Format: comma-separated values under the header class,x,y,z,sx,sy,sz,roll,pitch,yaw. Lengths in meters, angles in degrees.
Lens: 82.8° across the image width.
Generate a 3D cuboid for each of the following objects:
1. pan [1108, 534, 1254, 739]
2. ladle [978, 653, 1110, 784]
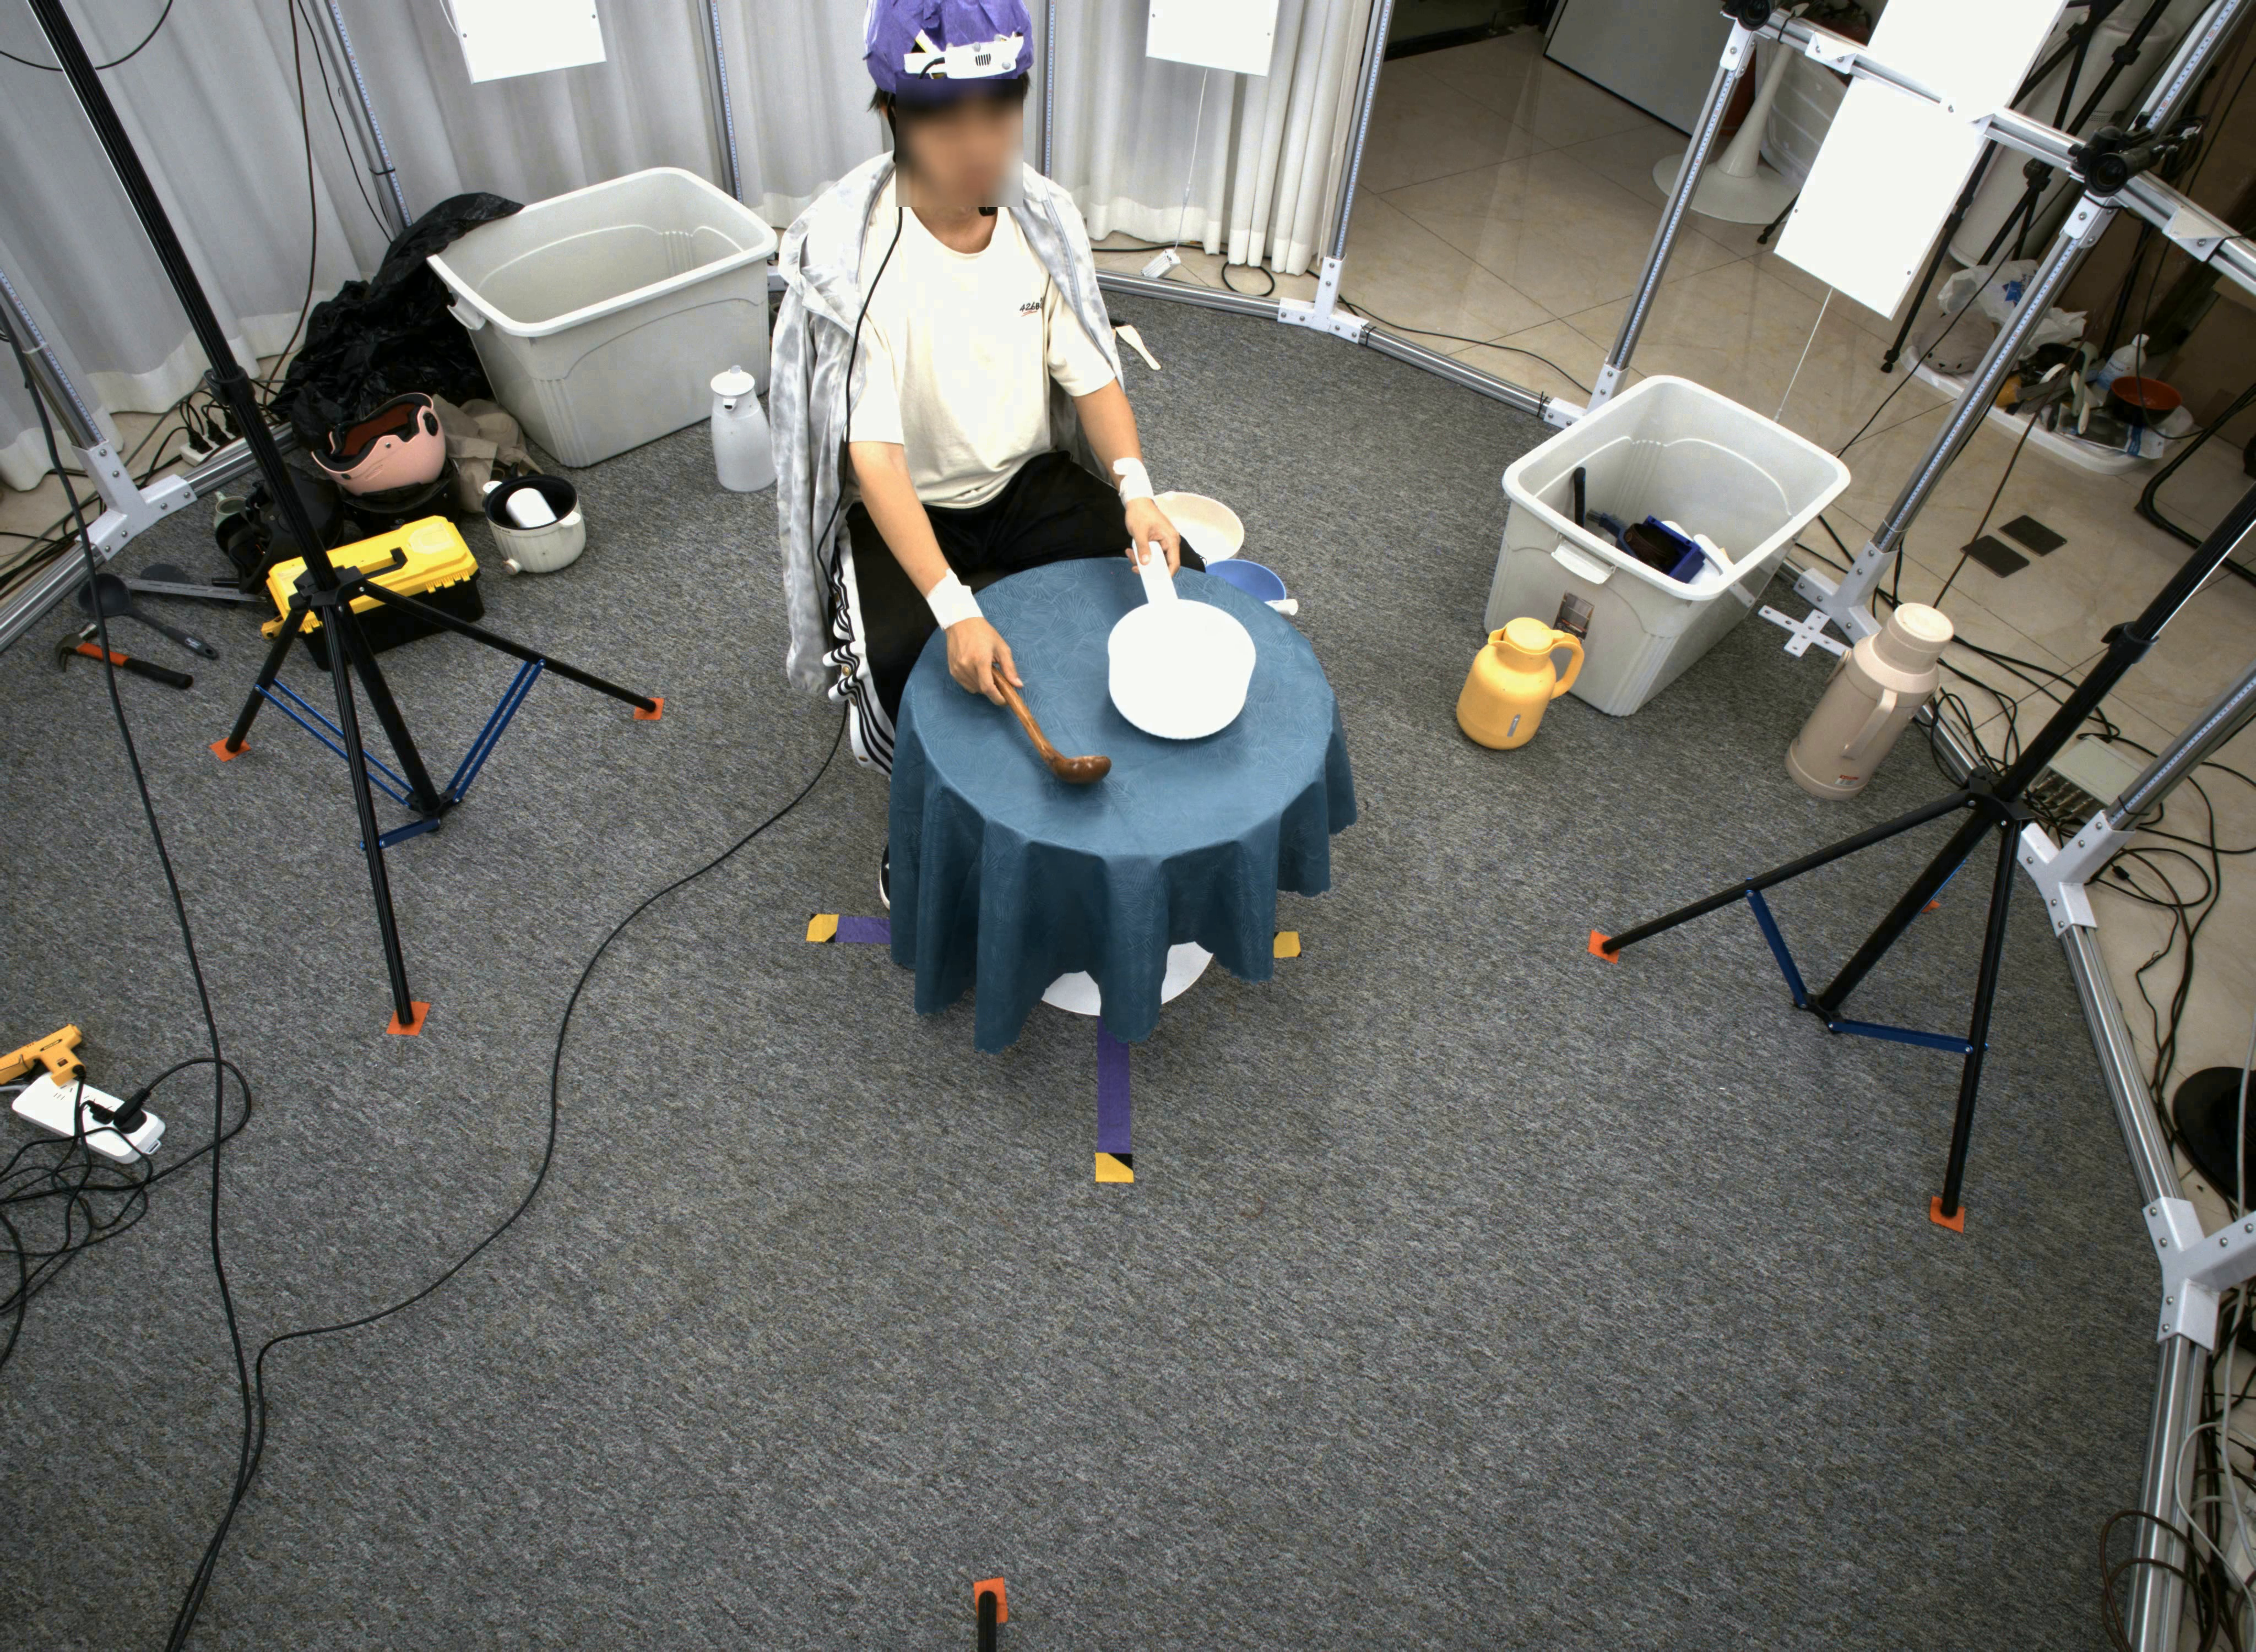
class,x,y,z,sx,sy,sz,roll,pitch,yaw
pan,0.057,-0.272,1.839,0.201,0.099,0.364,-6,49,-8
ladle,-0.117,-0.158,1.724,0.081,0.076,0.279,20,32,-55
